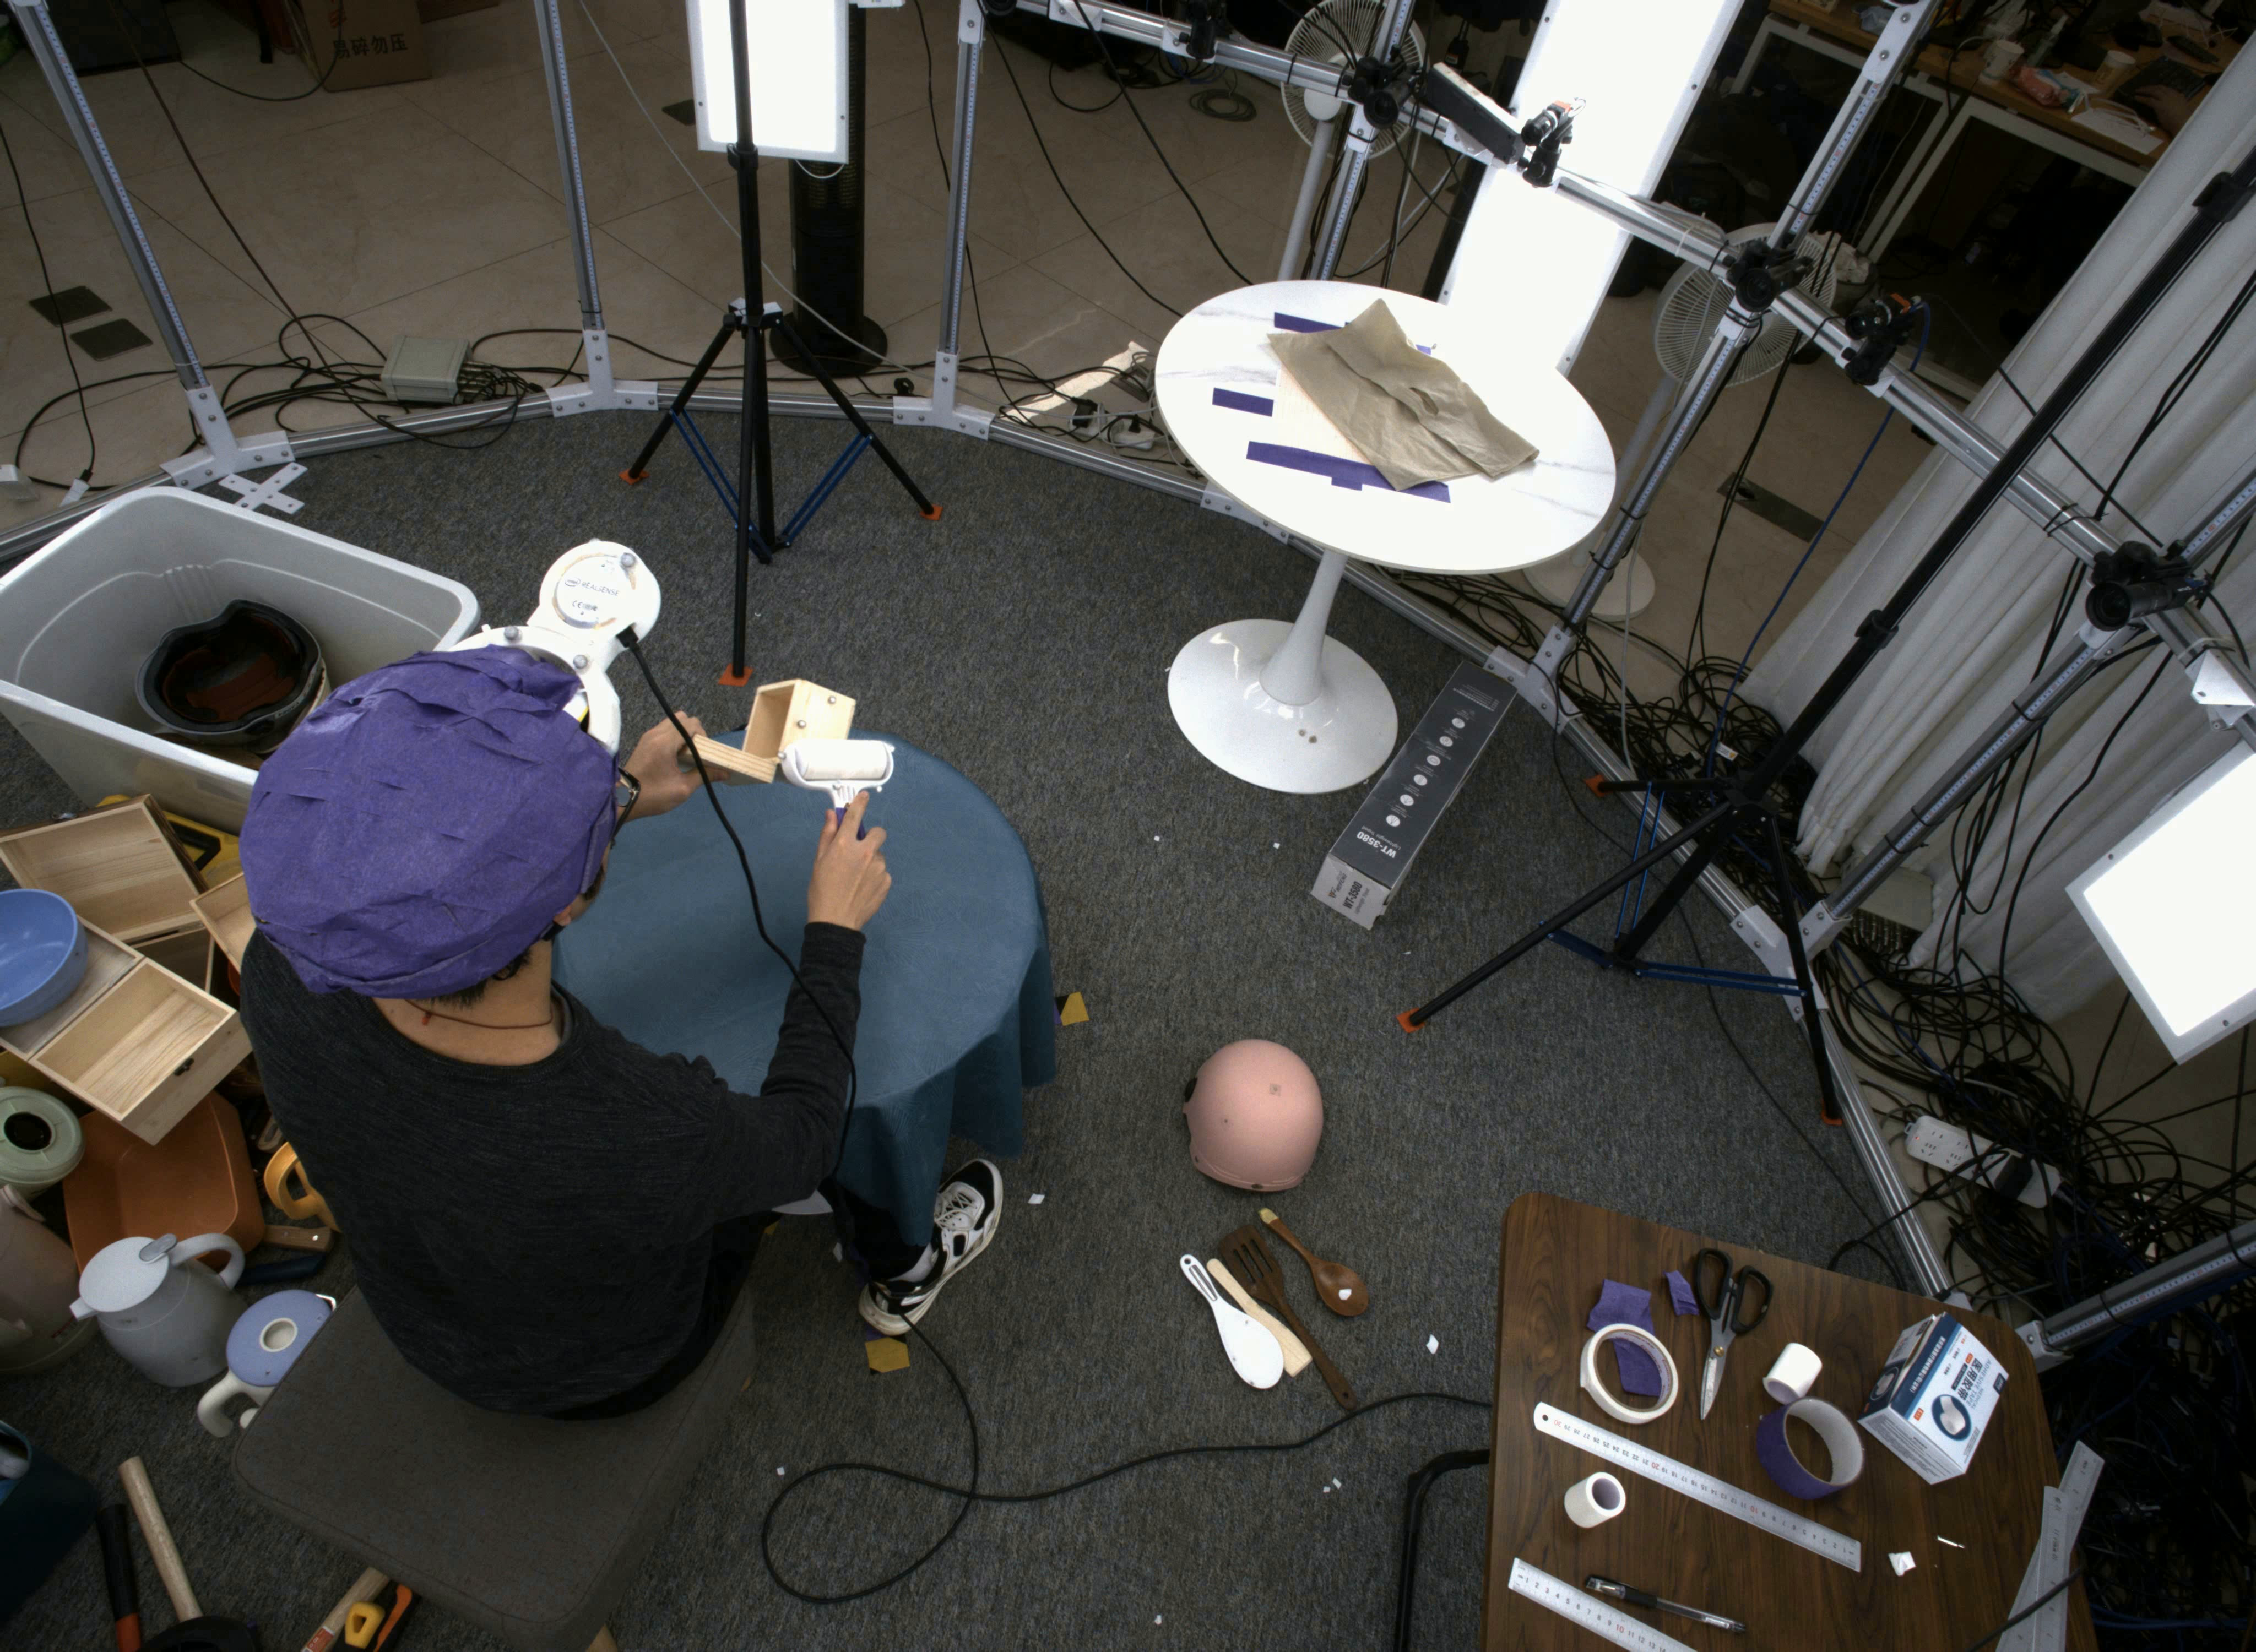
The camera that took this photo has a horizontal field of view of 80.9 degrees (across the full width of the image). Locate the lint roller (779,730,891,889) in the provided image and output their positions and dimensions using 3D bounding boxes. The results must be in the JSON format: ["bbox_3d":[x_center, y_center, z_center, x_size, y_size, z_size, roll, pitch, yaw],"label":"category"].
[{"bbox_3d":[-0.311,-0.023,1.442,0.135,0.049,0.179,-1,68,-45],"label":"lint roller"}]

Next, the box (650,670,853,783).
[{"bbox_3d":[-0.426,-0.119,1.463,0.190,0.099,0.134,21,75,-41],"label":"box"}]
